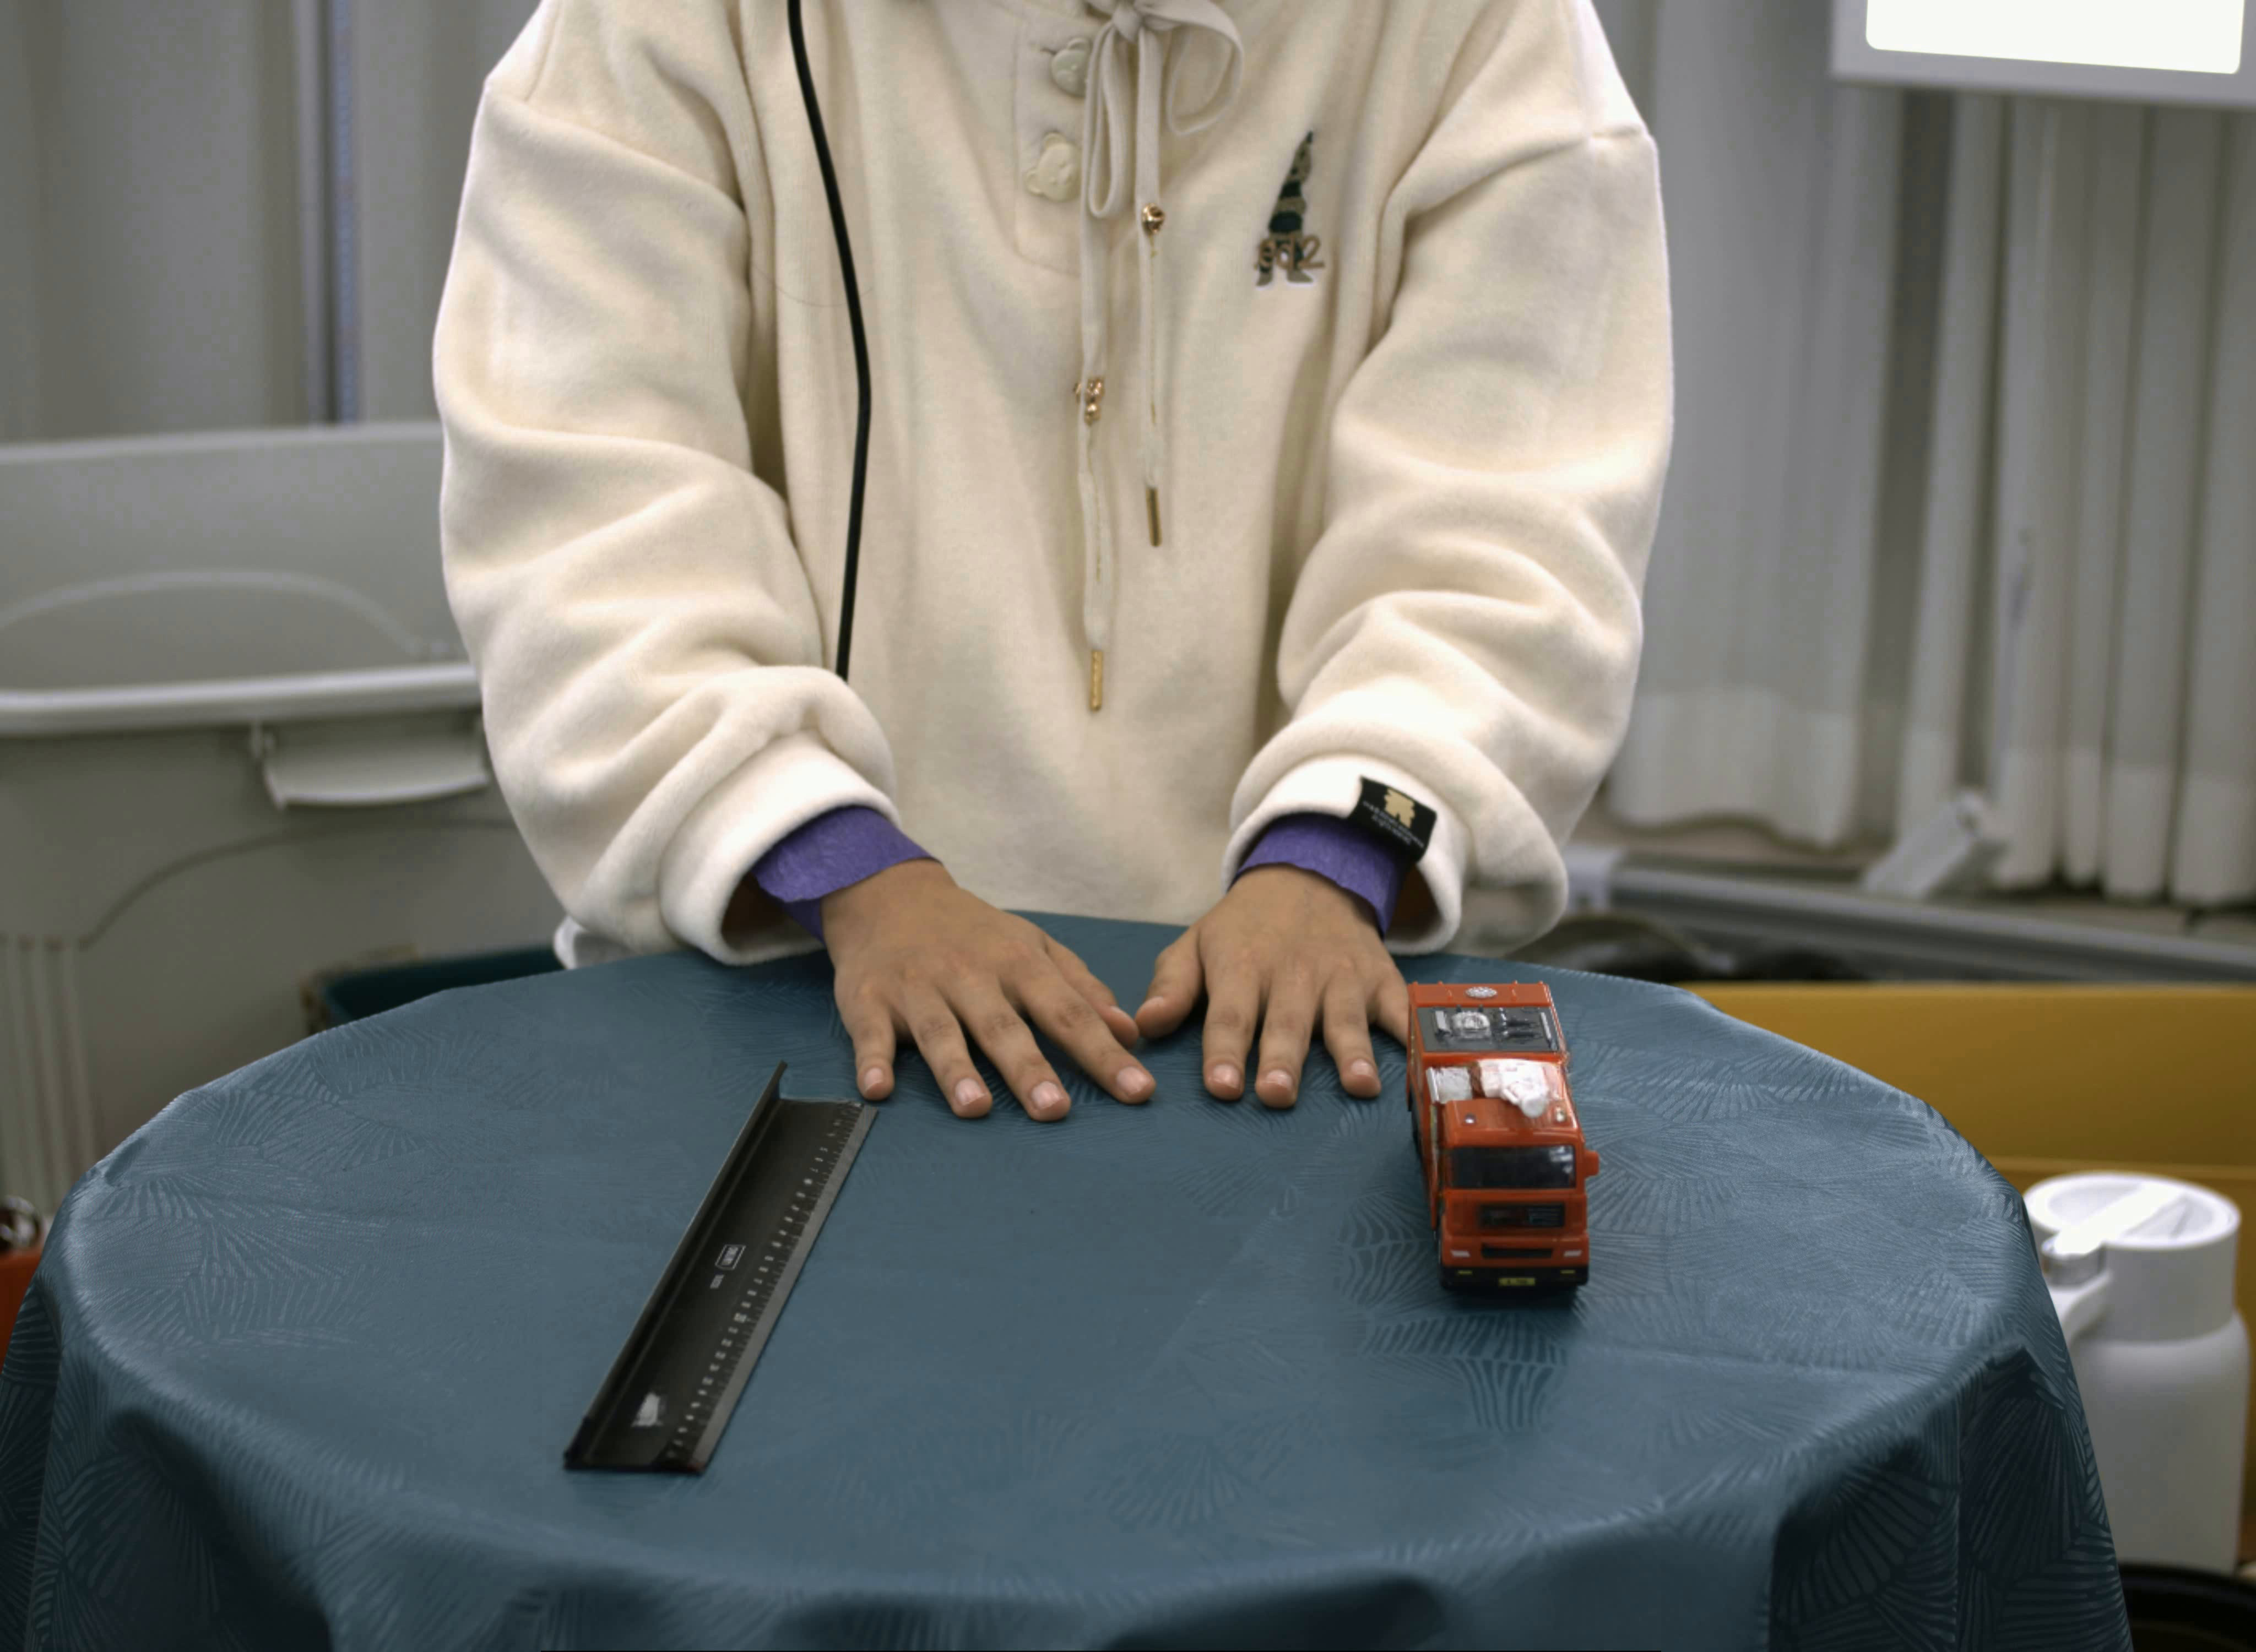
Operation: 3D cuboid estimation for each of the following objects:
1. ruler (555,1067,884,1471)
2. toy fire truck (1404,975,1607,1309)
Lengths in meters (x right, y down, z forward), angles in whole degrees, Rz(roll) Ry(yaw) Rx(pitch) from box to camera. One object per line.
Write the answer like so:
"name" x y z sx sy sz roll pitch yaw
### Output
"ruler" -0.115 0.124 1.544 0.039 0.017 0.311 5 16 6
"toy fire truck" 0.113 0.092 1.589 0.054 0.071 0.167 -1 14 -1
